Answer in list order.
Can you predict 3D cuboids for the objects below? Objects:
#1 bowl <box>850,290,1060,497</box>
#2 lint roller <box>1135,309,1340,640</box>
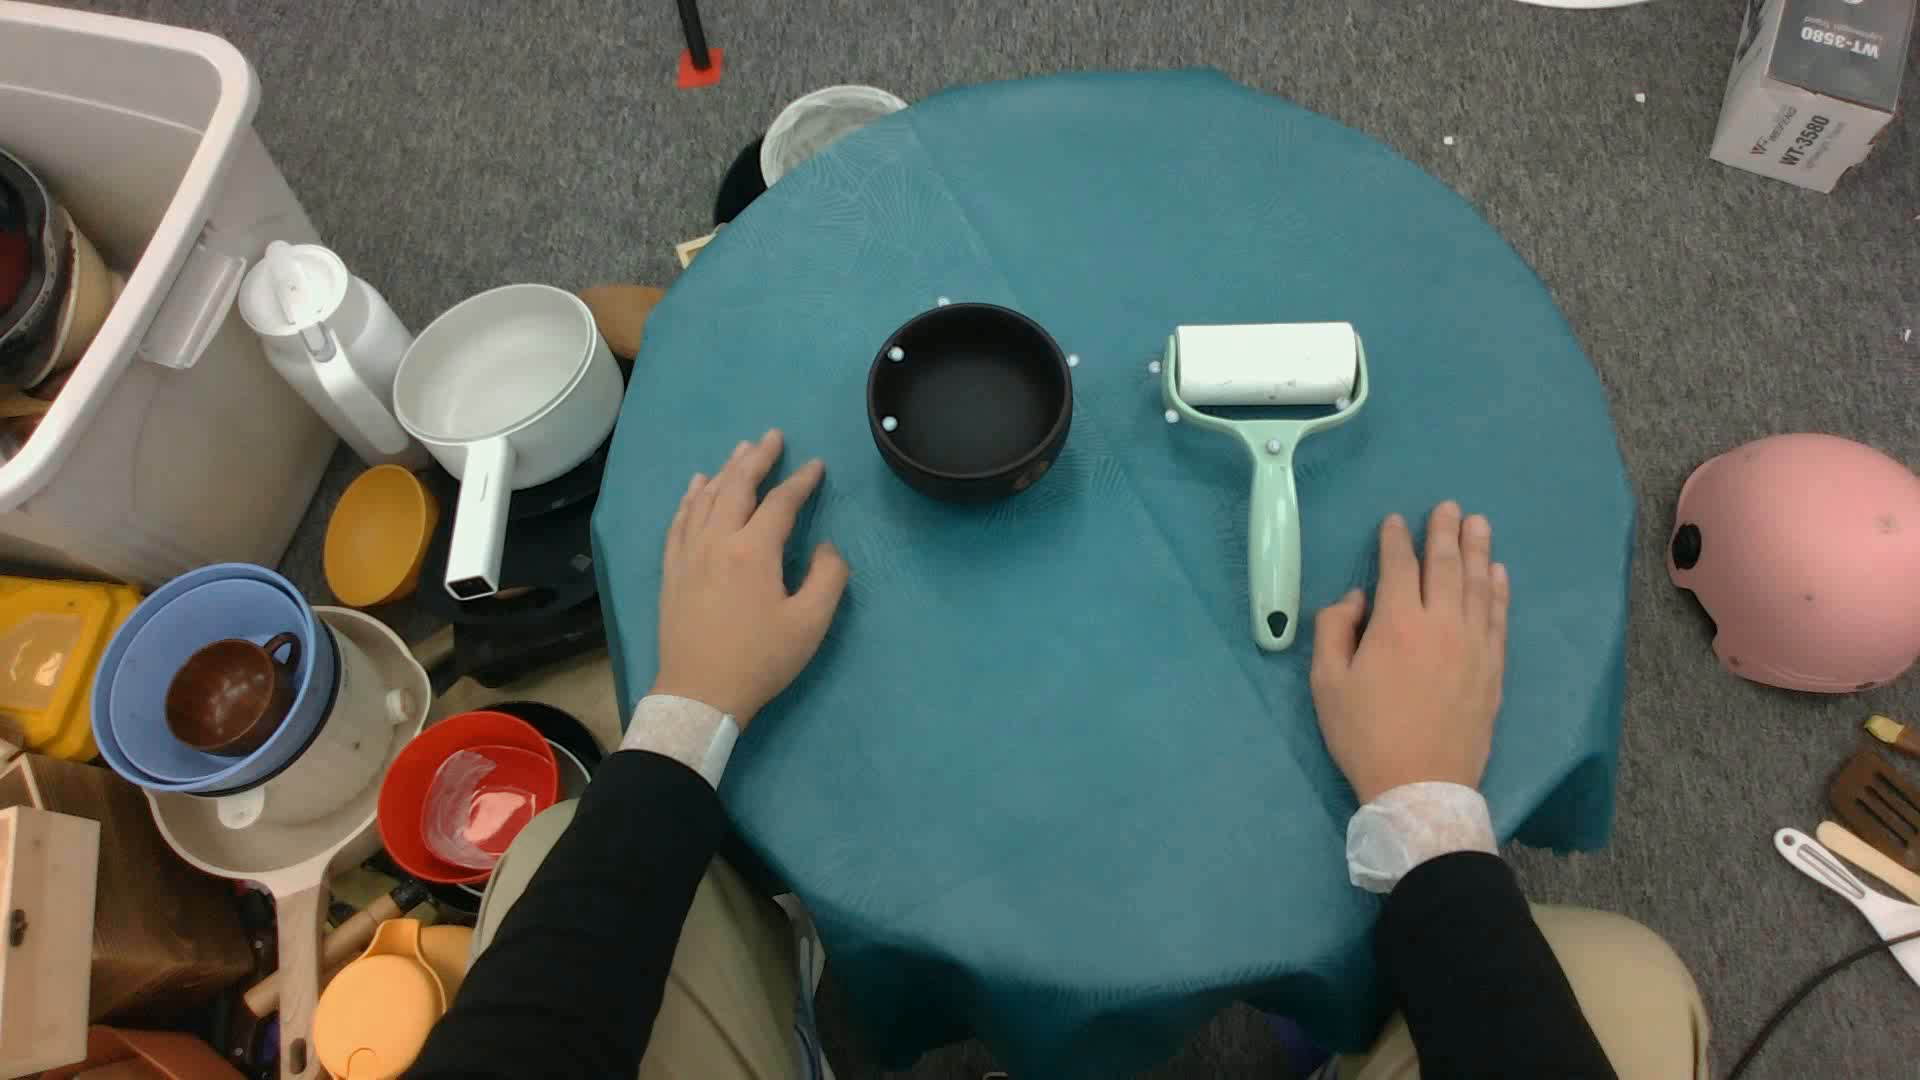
[{"bbox_3d":[-0.002,-0.077,0.792,0.118,0.069,0.118,0,67,1],"label":"bowl"},{"bbox_3d":[0.161,-0.042,0.786,0.116,0.048,0.198,0,68,1],"label":"lint roller"}]
